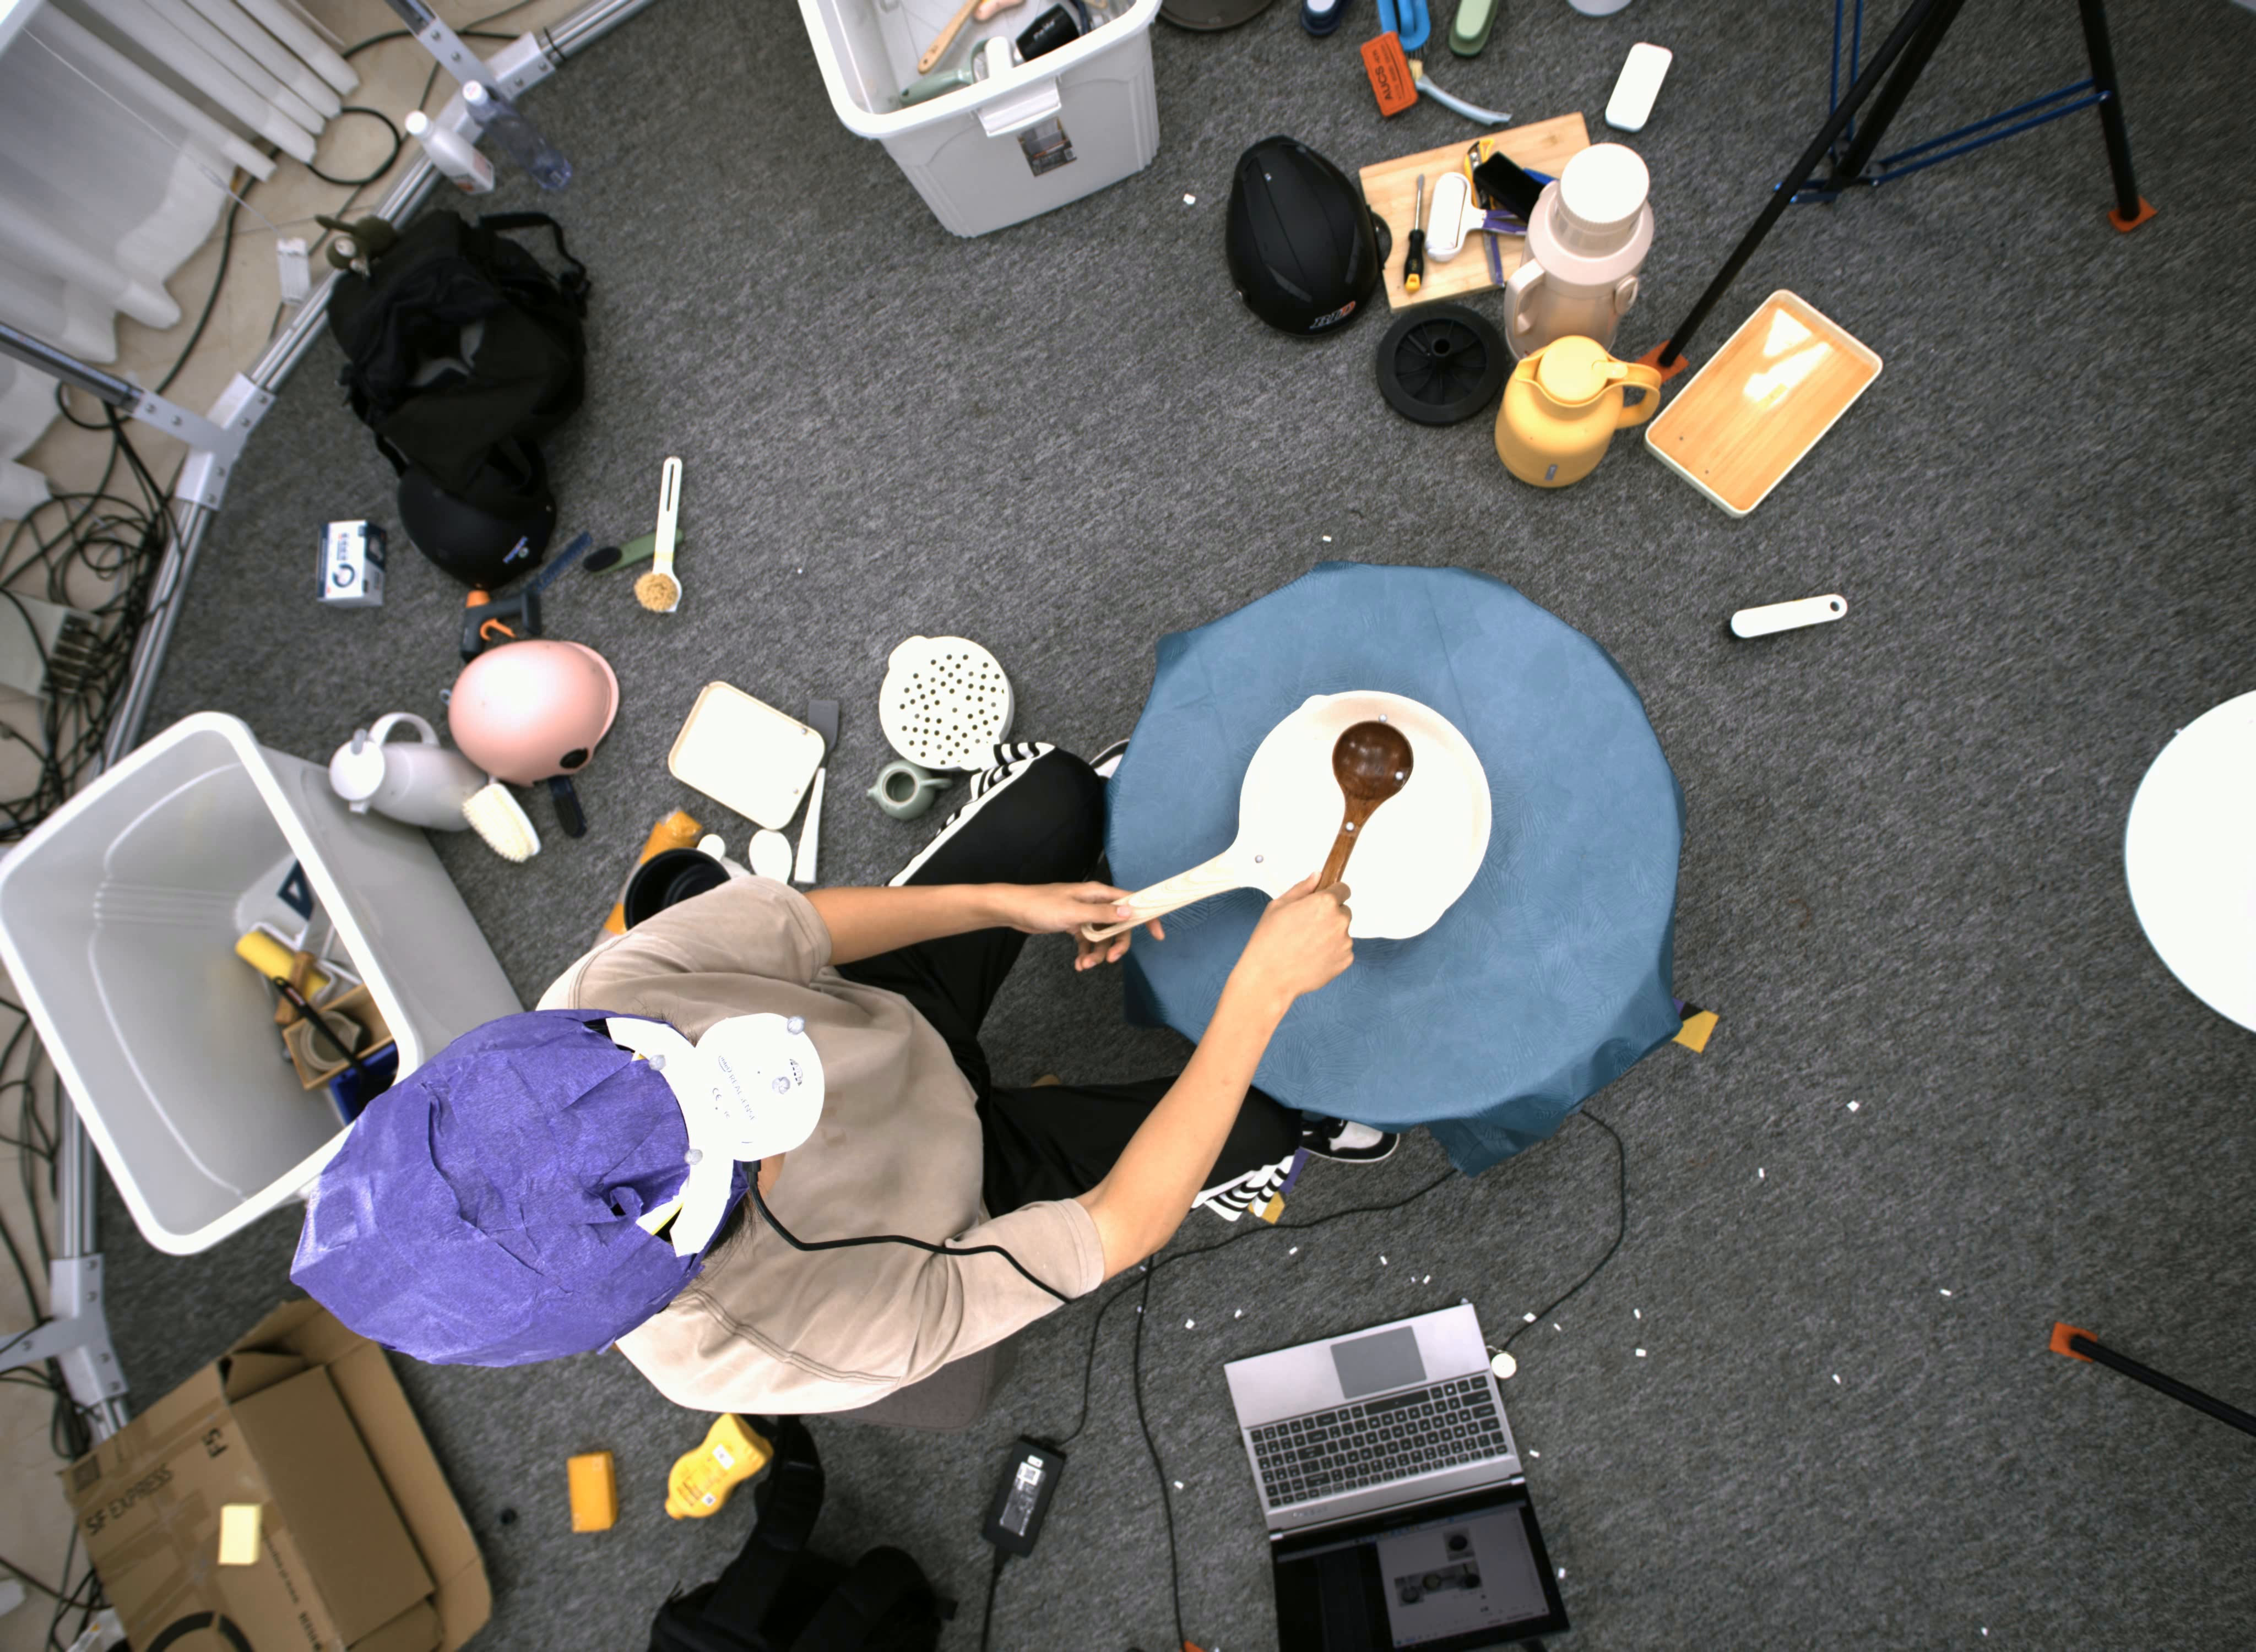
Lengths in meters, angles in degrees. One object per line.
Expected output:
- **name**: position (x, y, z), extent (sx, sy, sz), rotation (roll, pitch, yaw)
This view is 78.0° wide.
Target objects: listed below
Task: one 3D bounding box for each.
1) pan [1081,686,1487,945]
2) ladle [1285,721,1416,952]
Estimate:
- **pan**: position (0.157, 0.023, 1.435), extent (0.437, 0.102, 0.262), rotation (-24, 84, 8)
- **ladle**: position (0.205, 0.000, 1.301), extent (0.082, 0.078, 0.267), rotation (12, 44, 22)
